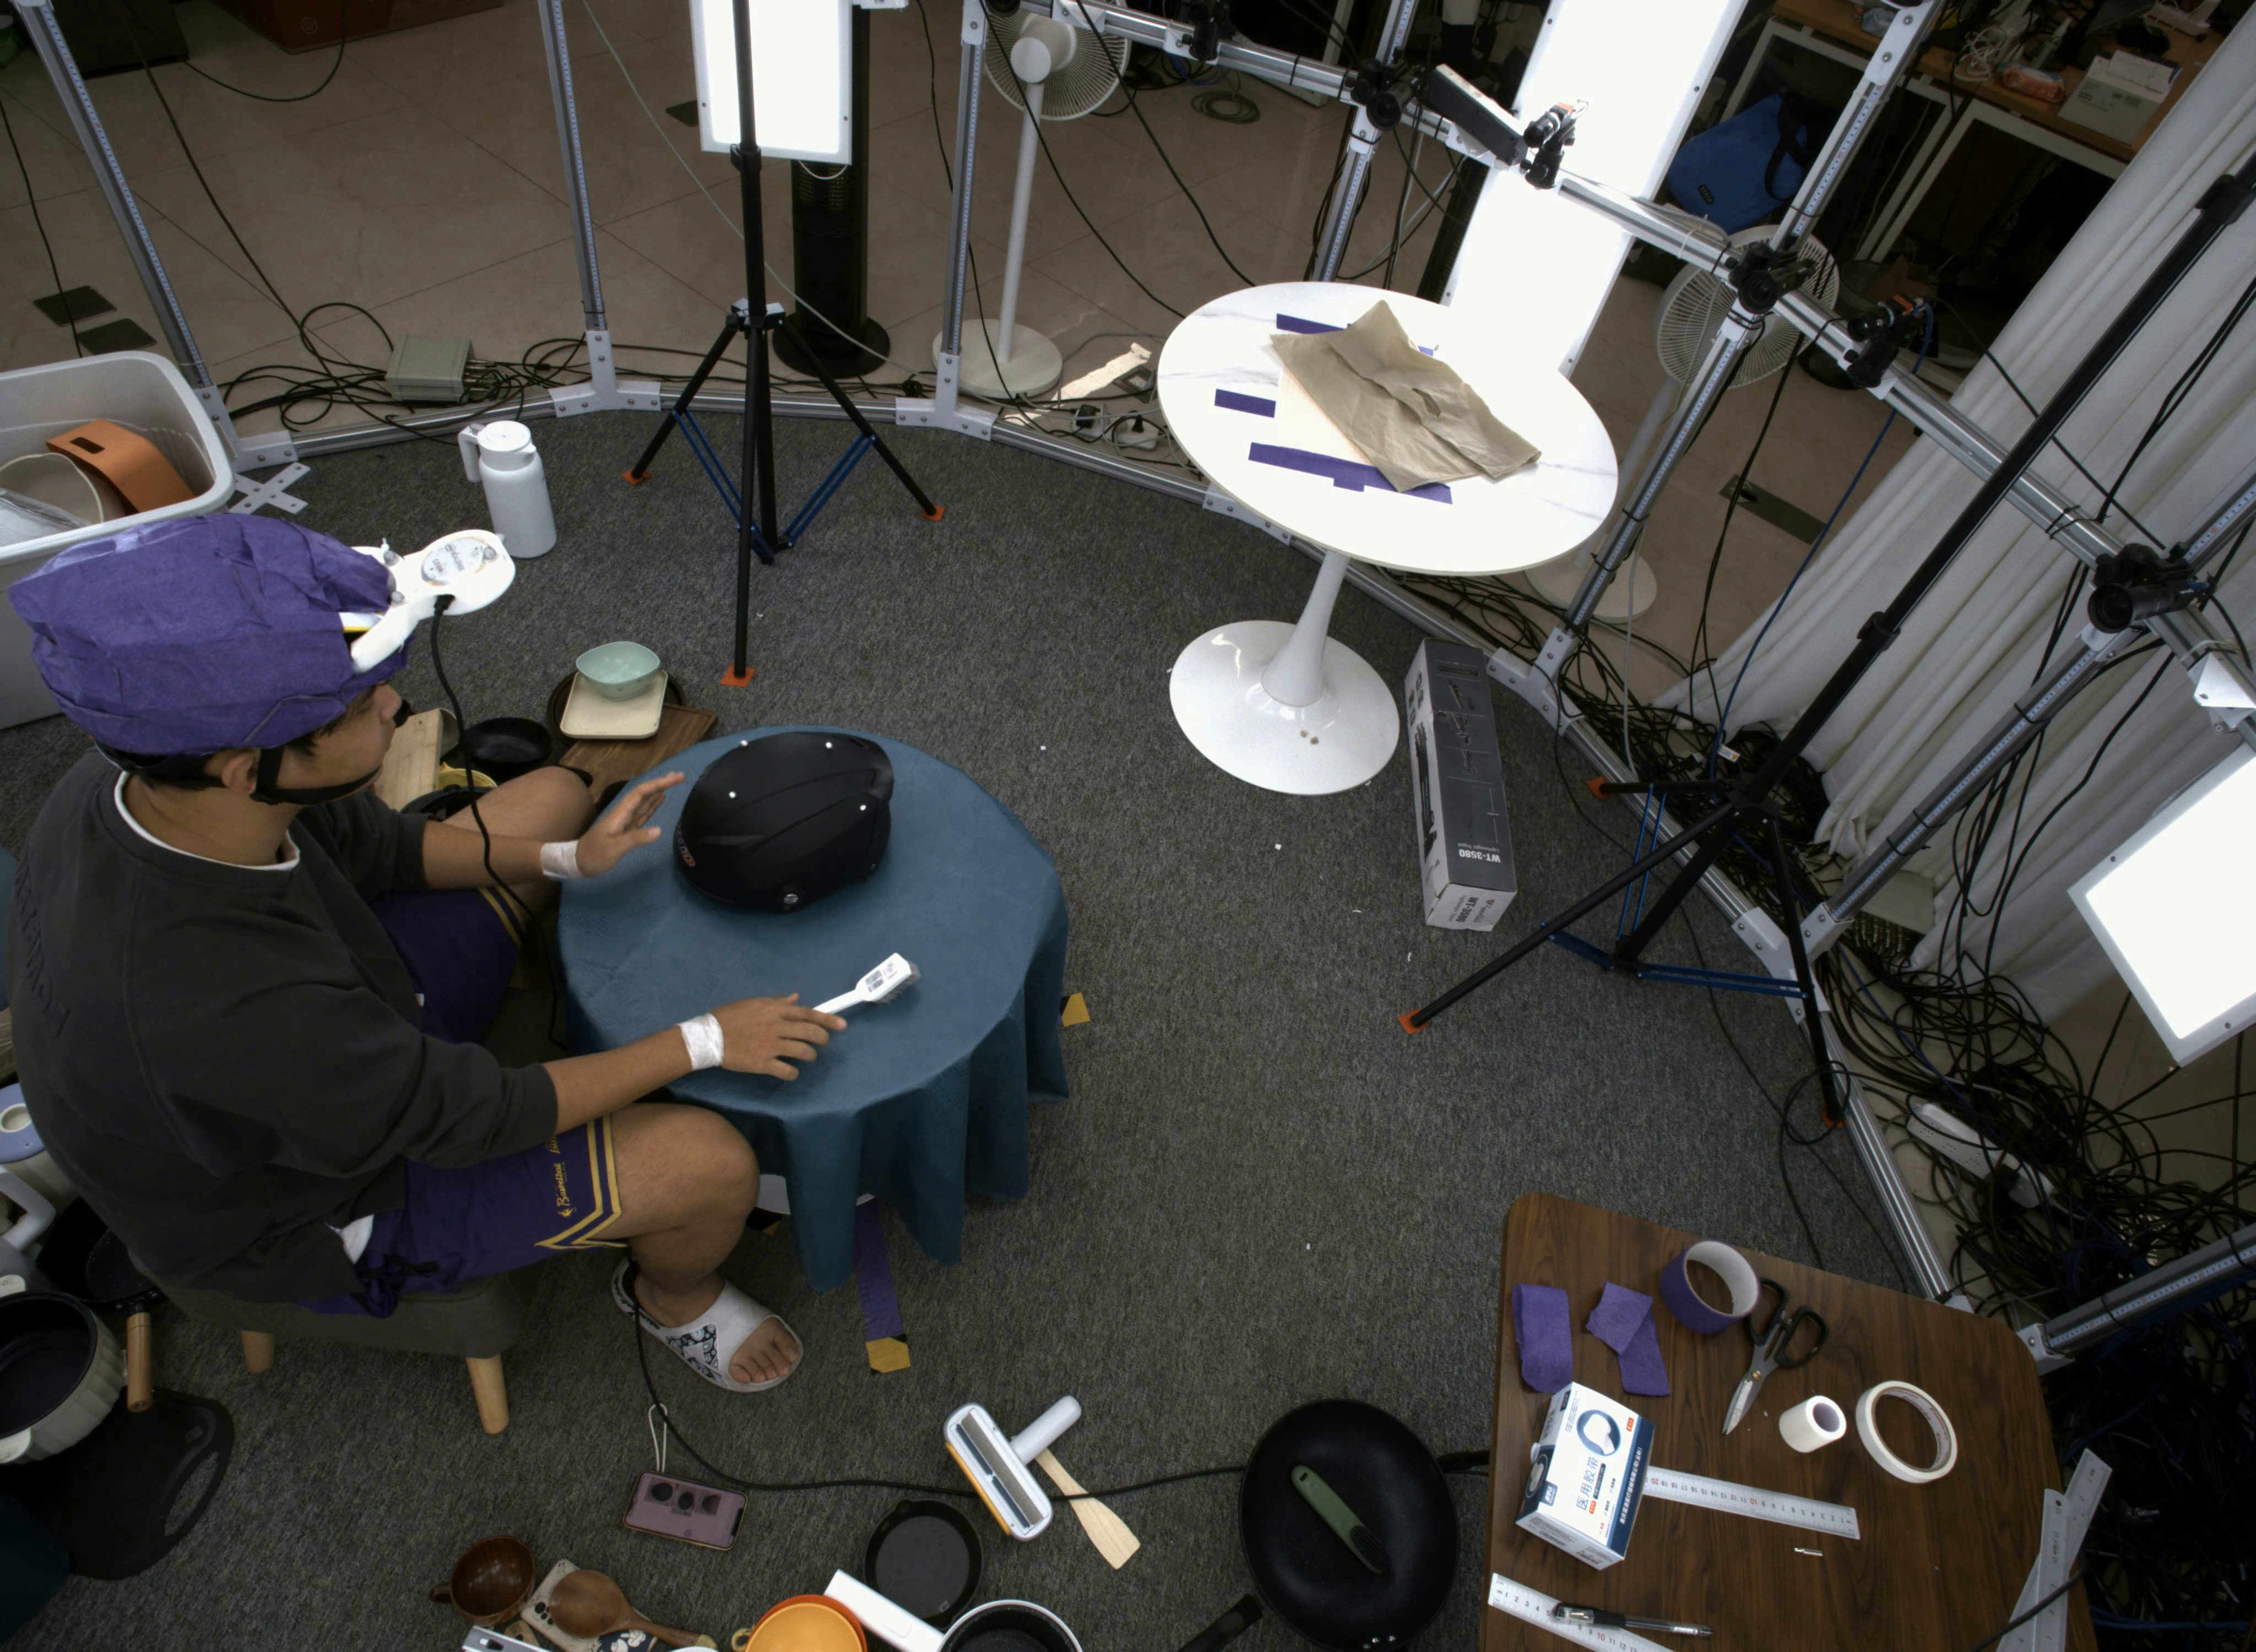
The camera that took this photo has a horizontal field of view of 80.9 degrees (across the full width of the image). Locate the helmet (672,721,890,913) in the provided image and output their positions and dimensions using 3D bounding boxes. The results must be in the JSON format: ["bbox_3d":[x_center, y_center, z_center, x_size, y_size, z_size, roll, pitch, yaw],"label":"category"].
[{"bbox_3d":[-0.438,-0.028,1.644,0.278,0.176,0.240,-14,57,-26],"label":"helmet"}]

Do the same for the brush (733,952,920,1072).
[{"bbox_3d":[-0.361,0.226,1.561,0.243,0.051,0.033,-32,65,-17],"label":"brush"}]
